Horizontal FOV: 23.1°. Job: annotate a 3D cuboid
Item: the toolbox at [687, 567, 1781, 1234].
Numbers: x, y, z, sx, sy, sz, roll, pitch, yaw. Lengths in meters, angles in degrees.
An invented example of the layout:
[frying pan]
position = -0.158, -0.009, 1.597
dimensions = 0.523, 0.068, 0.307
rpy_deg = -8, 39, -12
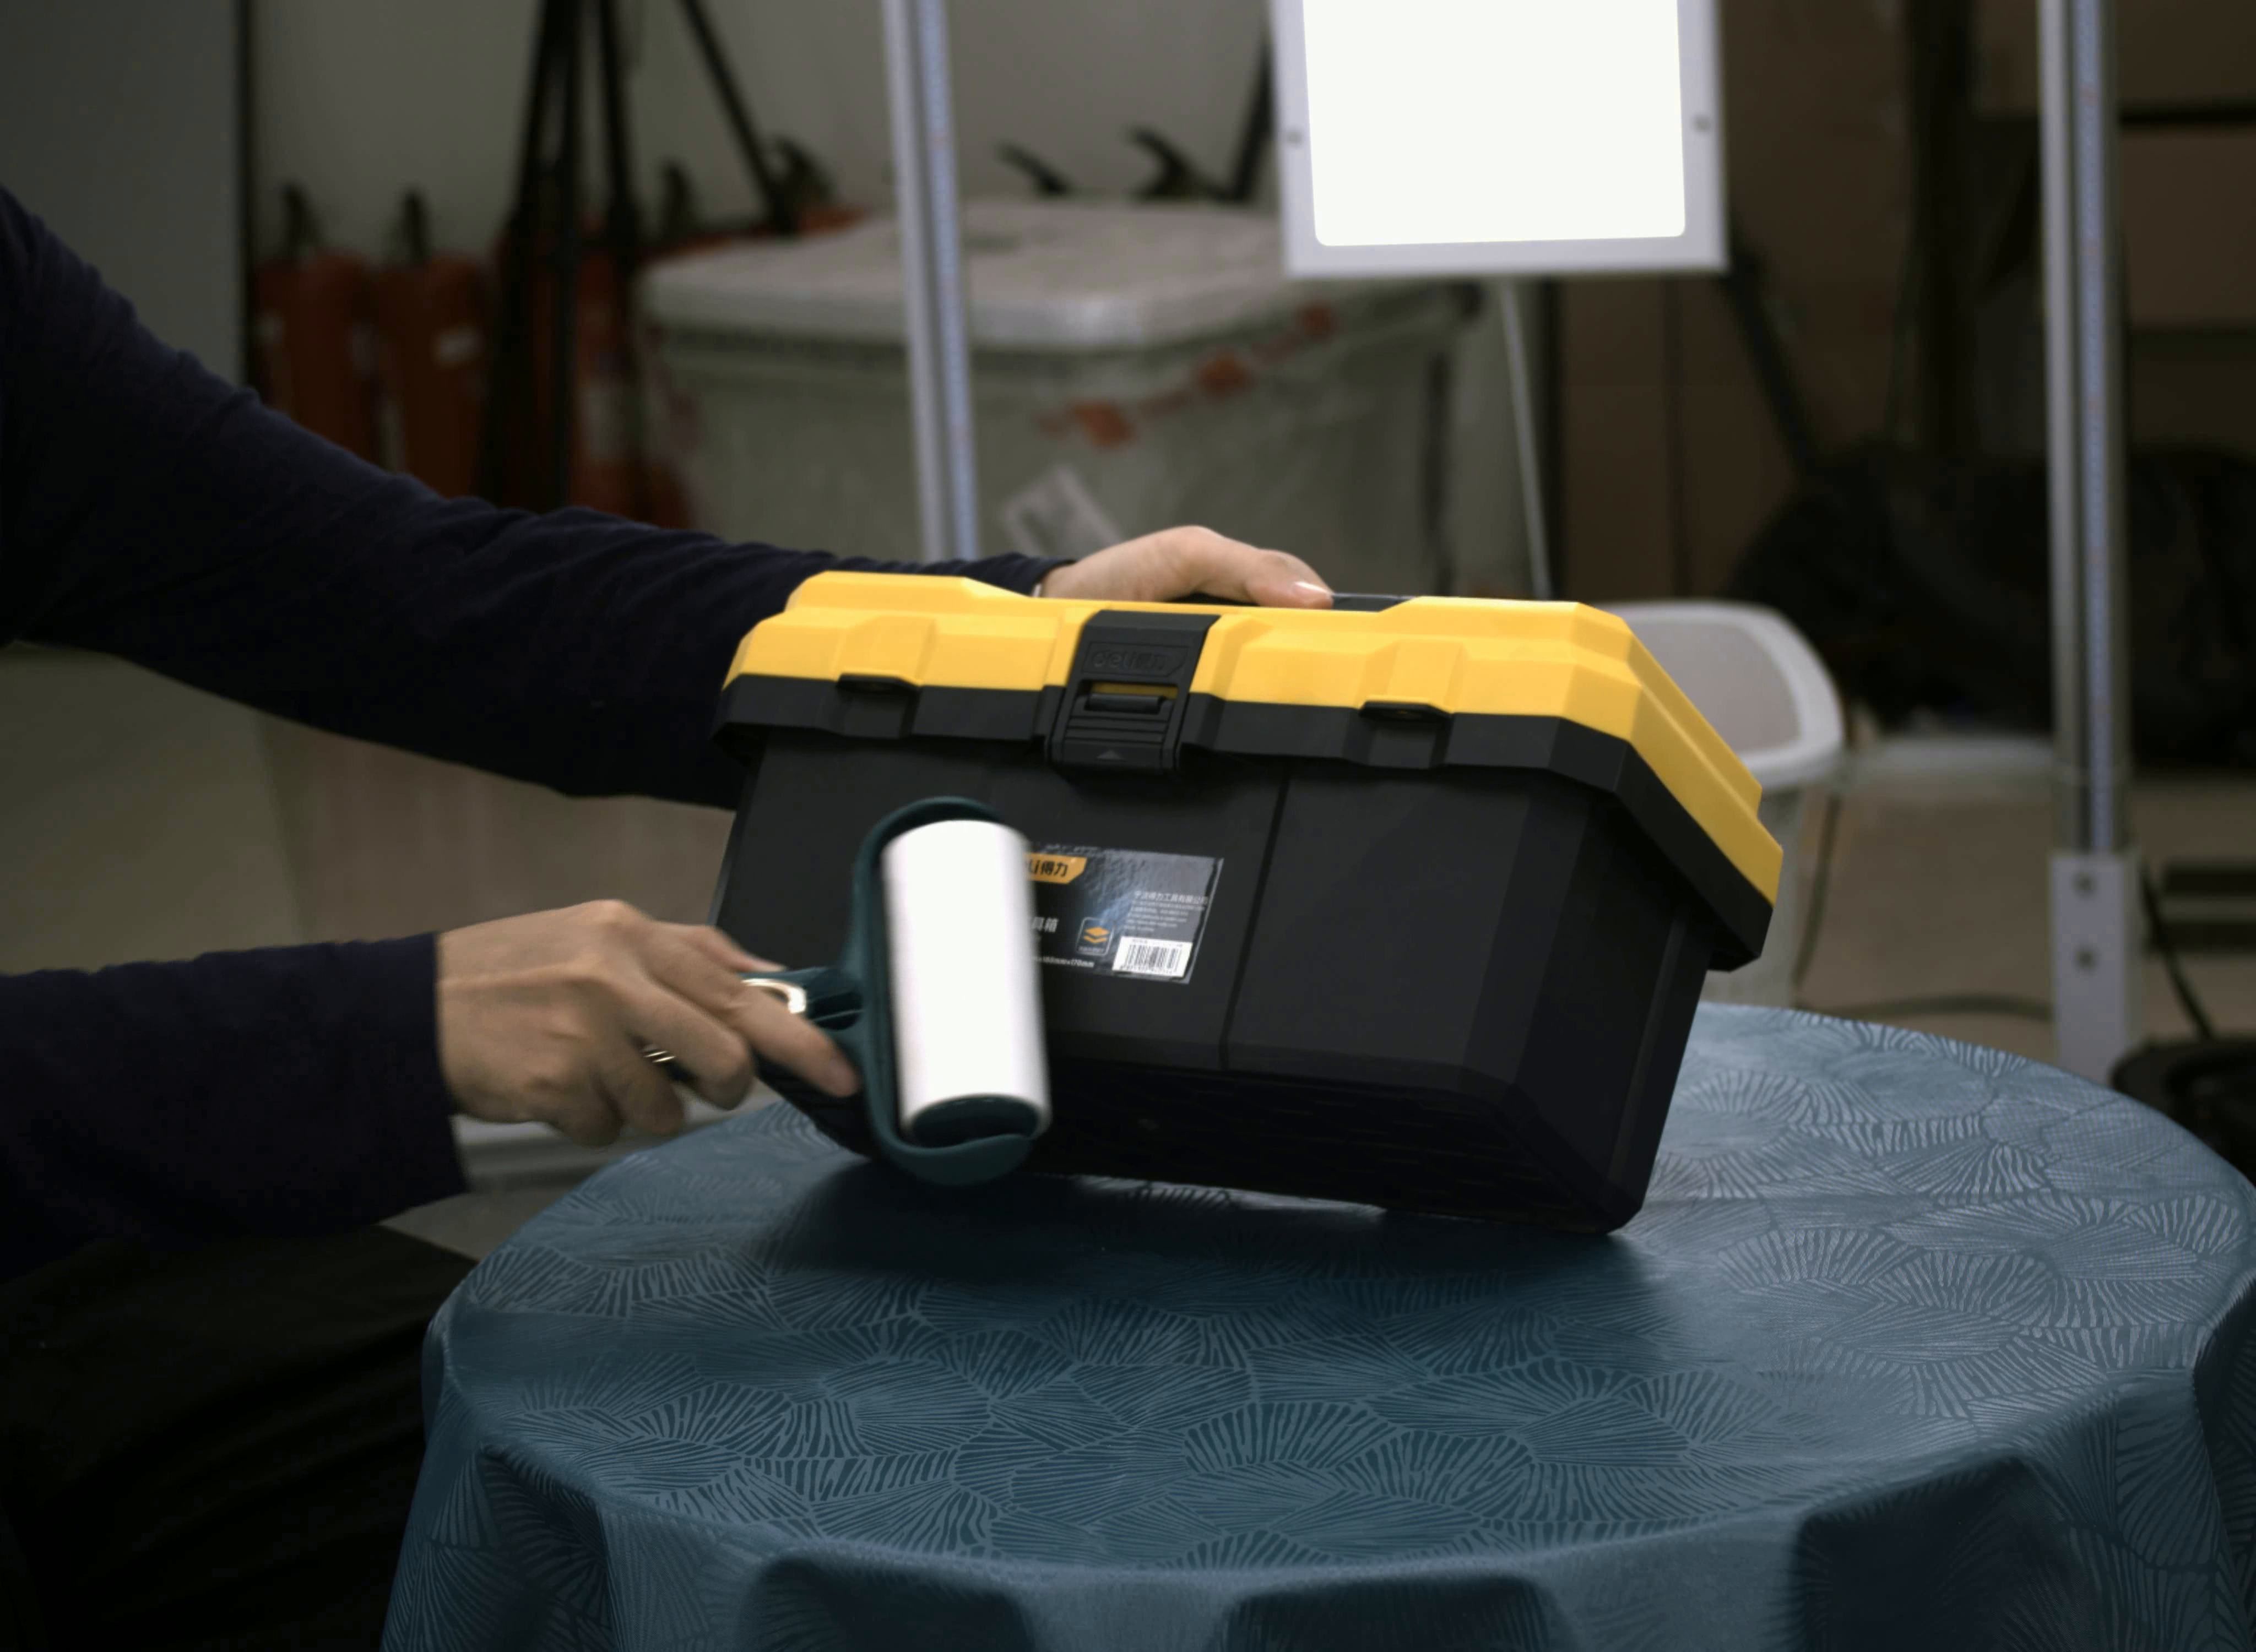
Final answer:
[toolbox]
position = 0.027, 0.023, 1.868
dimensions = 0.358, 0.172, 0.178
rpy_deg = 4, -23, 32

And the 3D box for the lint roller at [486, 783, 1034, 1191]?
[lint roller]
position = -0.124, 0.062, 1.801
dimensions = 0.180, 0.134, 0.048
rpy_deg = -8, -27, 3
